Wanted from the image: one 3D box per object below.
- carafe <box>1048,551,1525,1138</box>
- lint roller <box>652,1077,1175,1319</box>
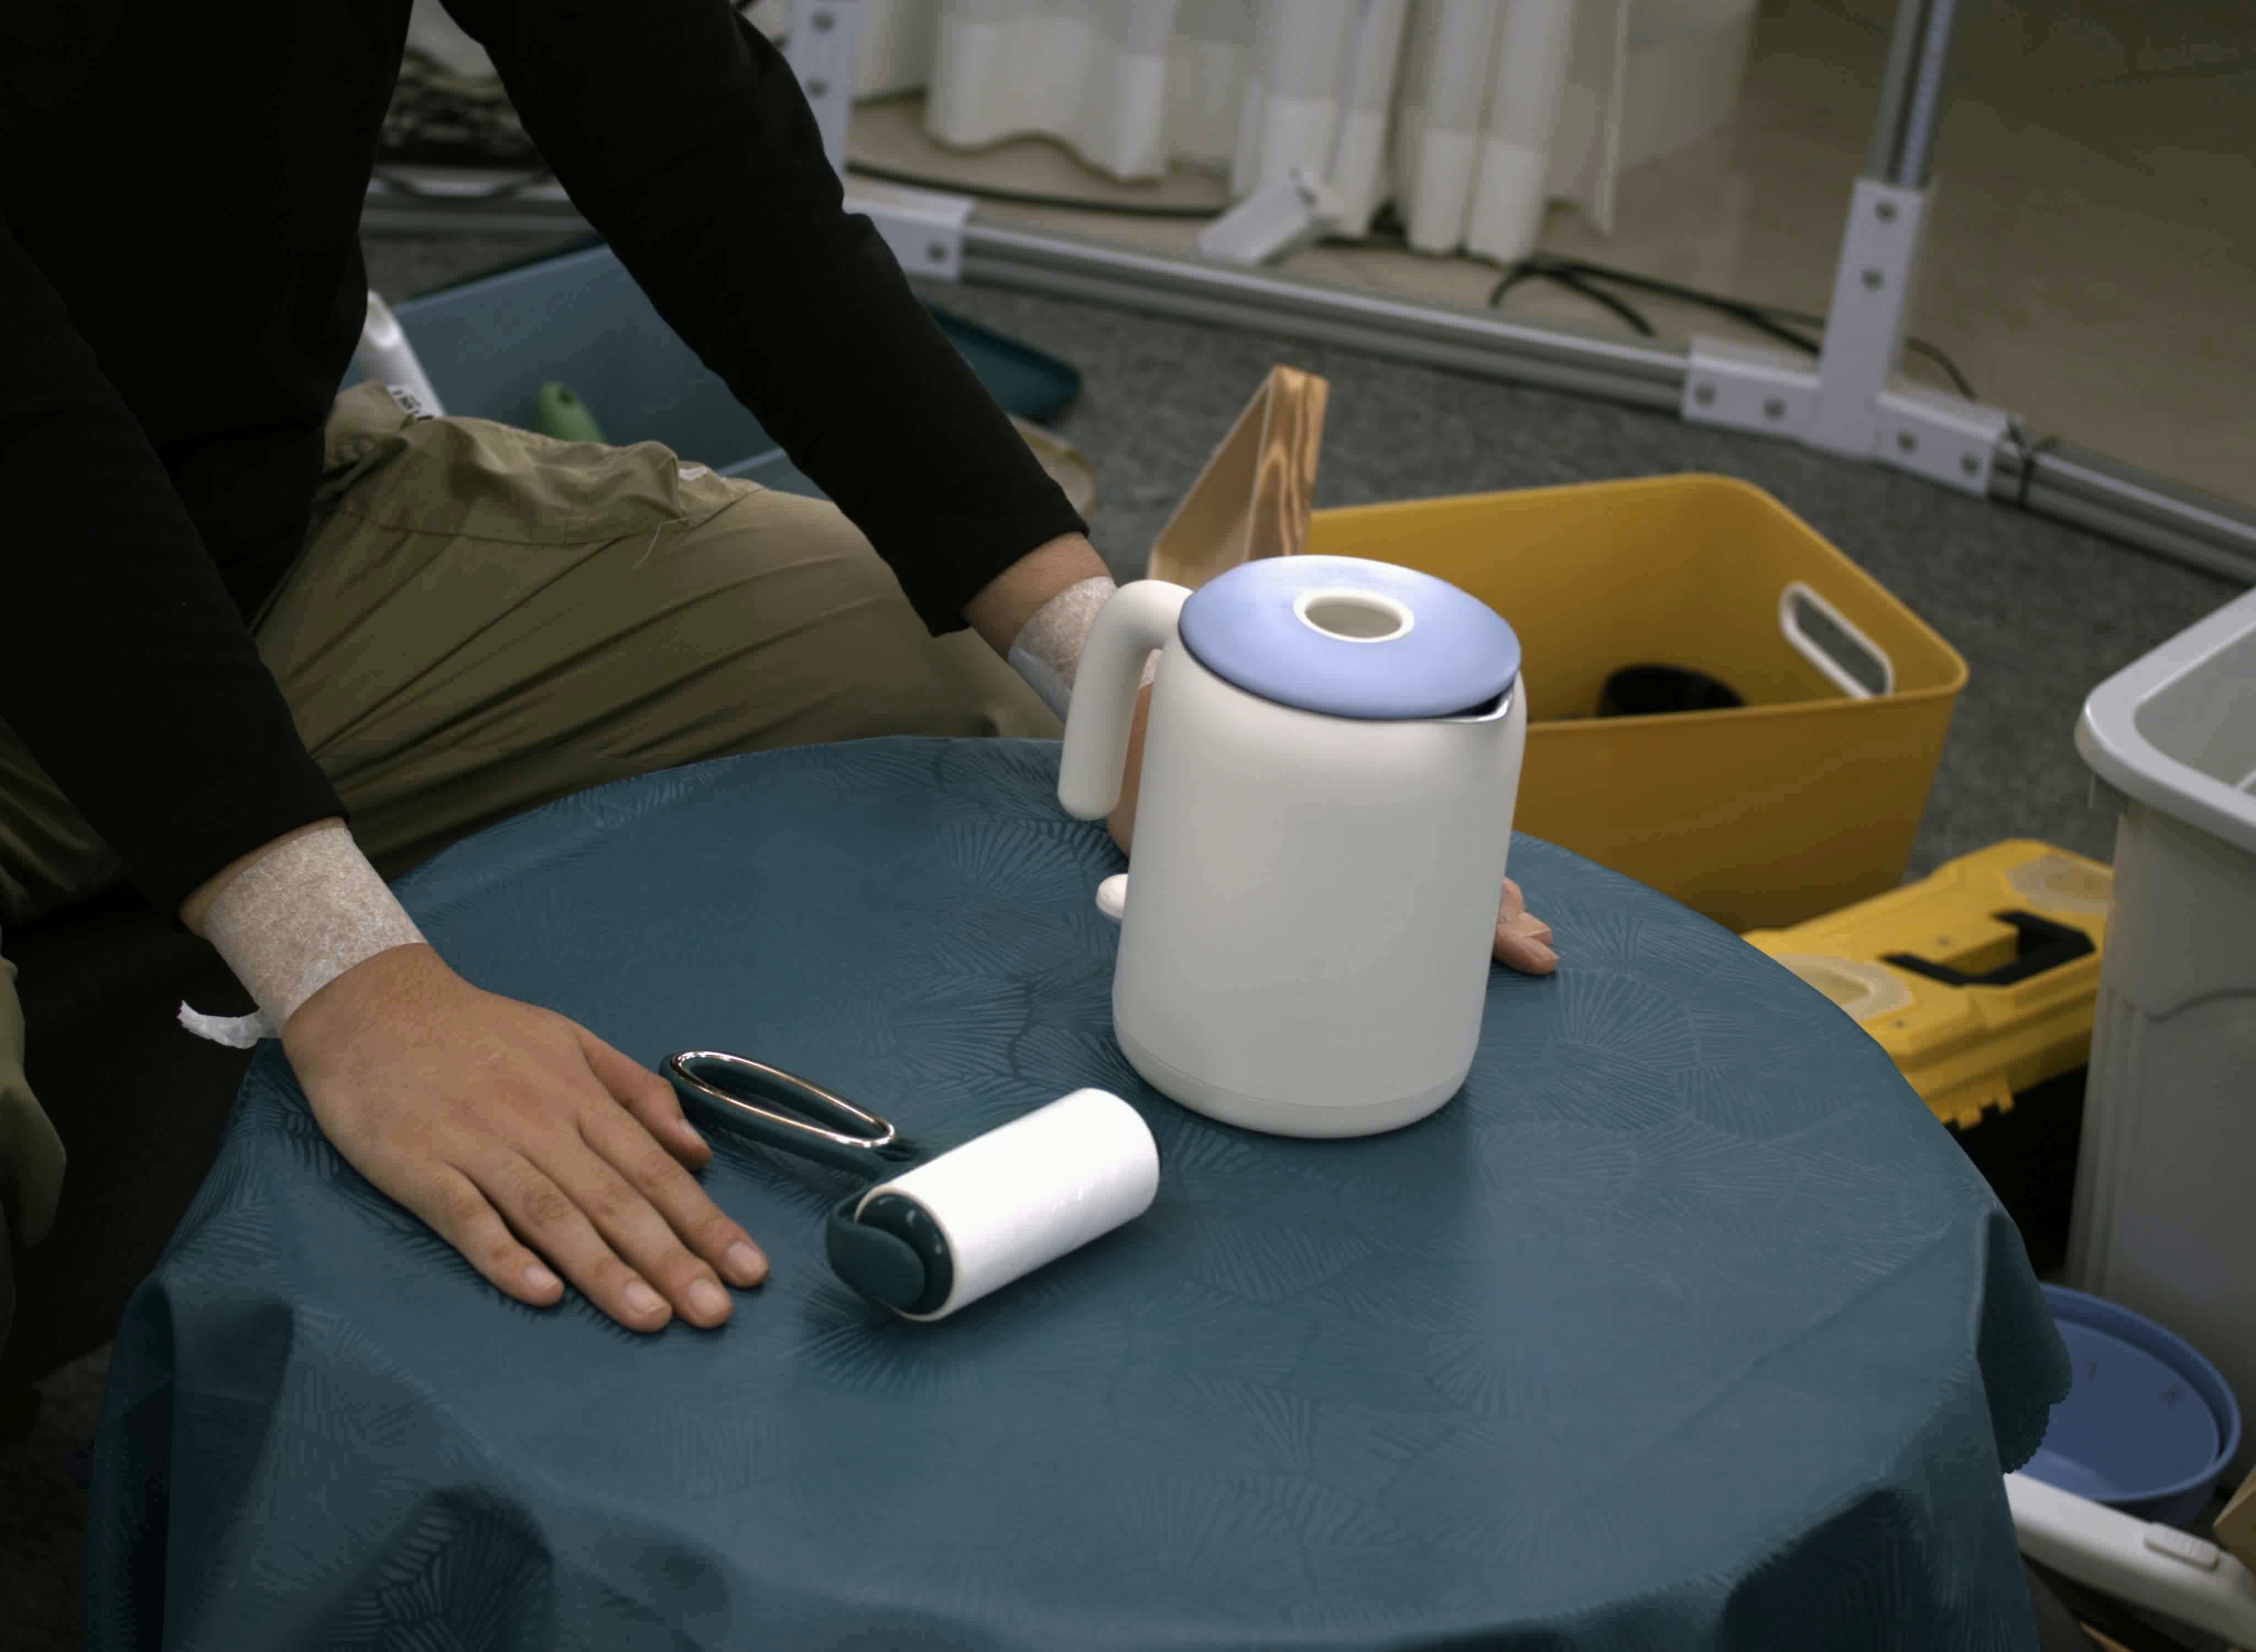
[{"bbox_3d":[0.049,-0.003,1.872,0.192,0.182,0.131,24,31,35],"label":"carafe"},{"bbox_3d":[-0.091,0.101,1.780,0.181,0.048,0.134,24,31,35],"label":"lint roller"}]
